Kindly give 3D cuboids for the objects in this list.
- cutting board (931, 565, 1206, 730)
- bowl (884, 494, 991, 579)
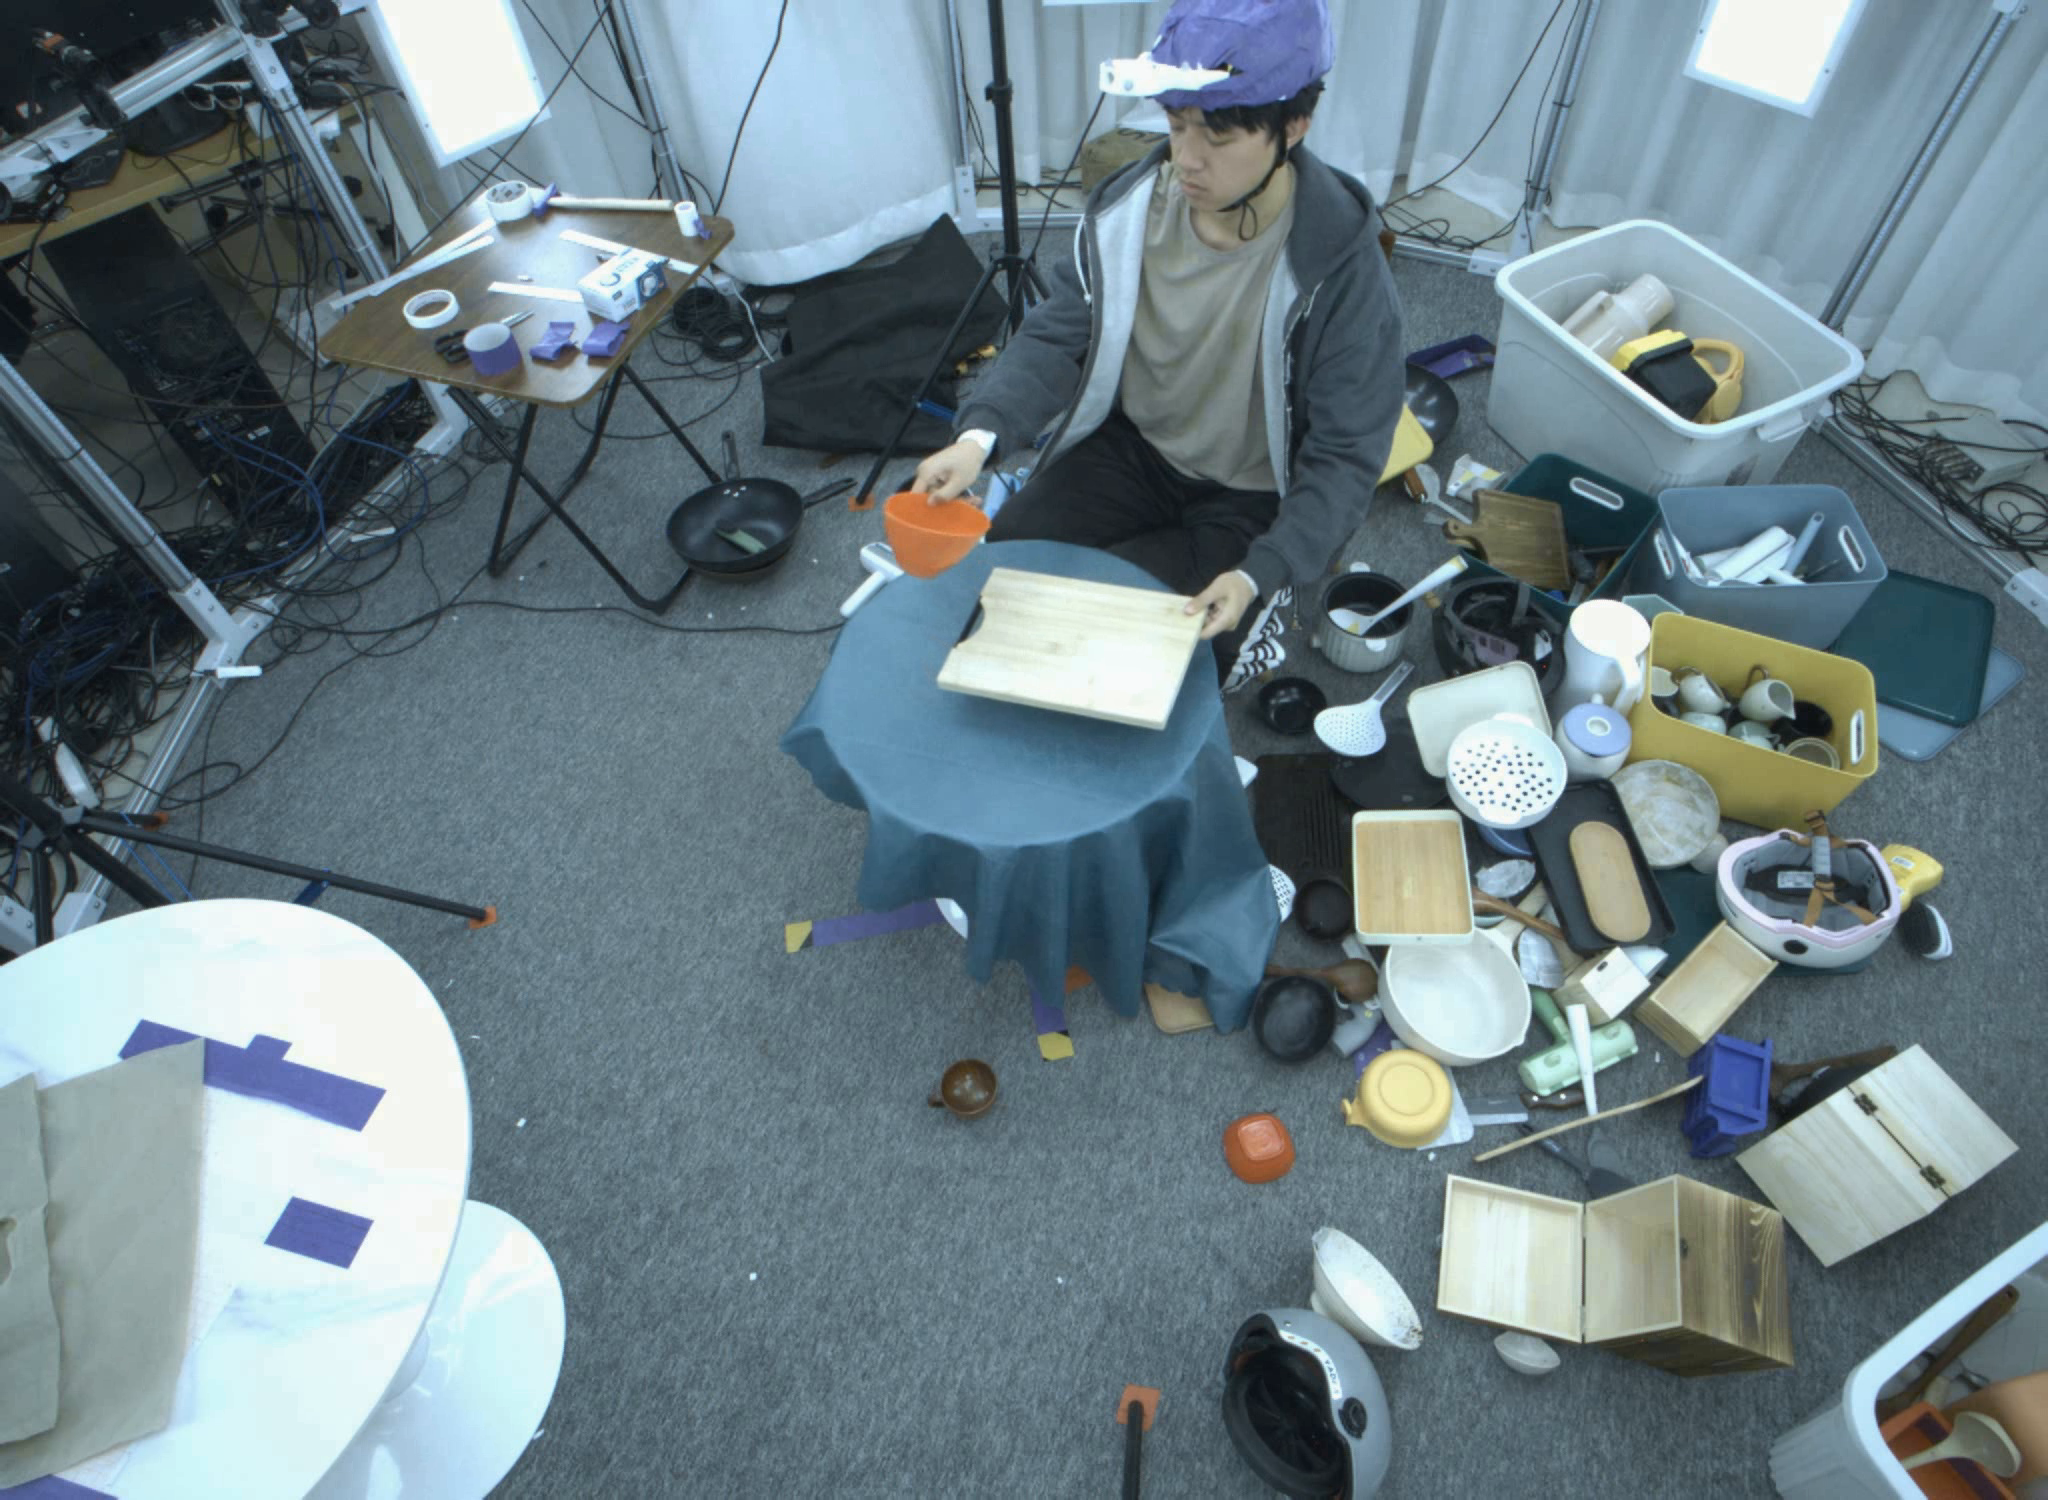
[{"bbox_3d":[0.066,-0.156,1.794,0.344,0.024,0.250,11,55,16],"label":"cutting board"},{"bbox_3d":[-0.129,-0.288,1.677,0.149,0.105,0.146,14,39,-10],"label":"bowl"}]
